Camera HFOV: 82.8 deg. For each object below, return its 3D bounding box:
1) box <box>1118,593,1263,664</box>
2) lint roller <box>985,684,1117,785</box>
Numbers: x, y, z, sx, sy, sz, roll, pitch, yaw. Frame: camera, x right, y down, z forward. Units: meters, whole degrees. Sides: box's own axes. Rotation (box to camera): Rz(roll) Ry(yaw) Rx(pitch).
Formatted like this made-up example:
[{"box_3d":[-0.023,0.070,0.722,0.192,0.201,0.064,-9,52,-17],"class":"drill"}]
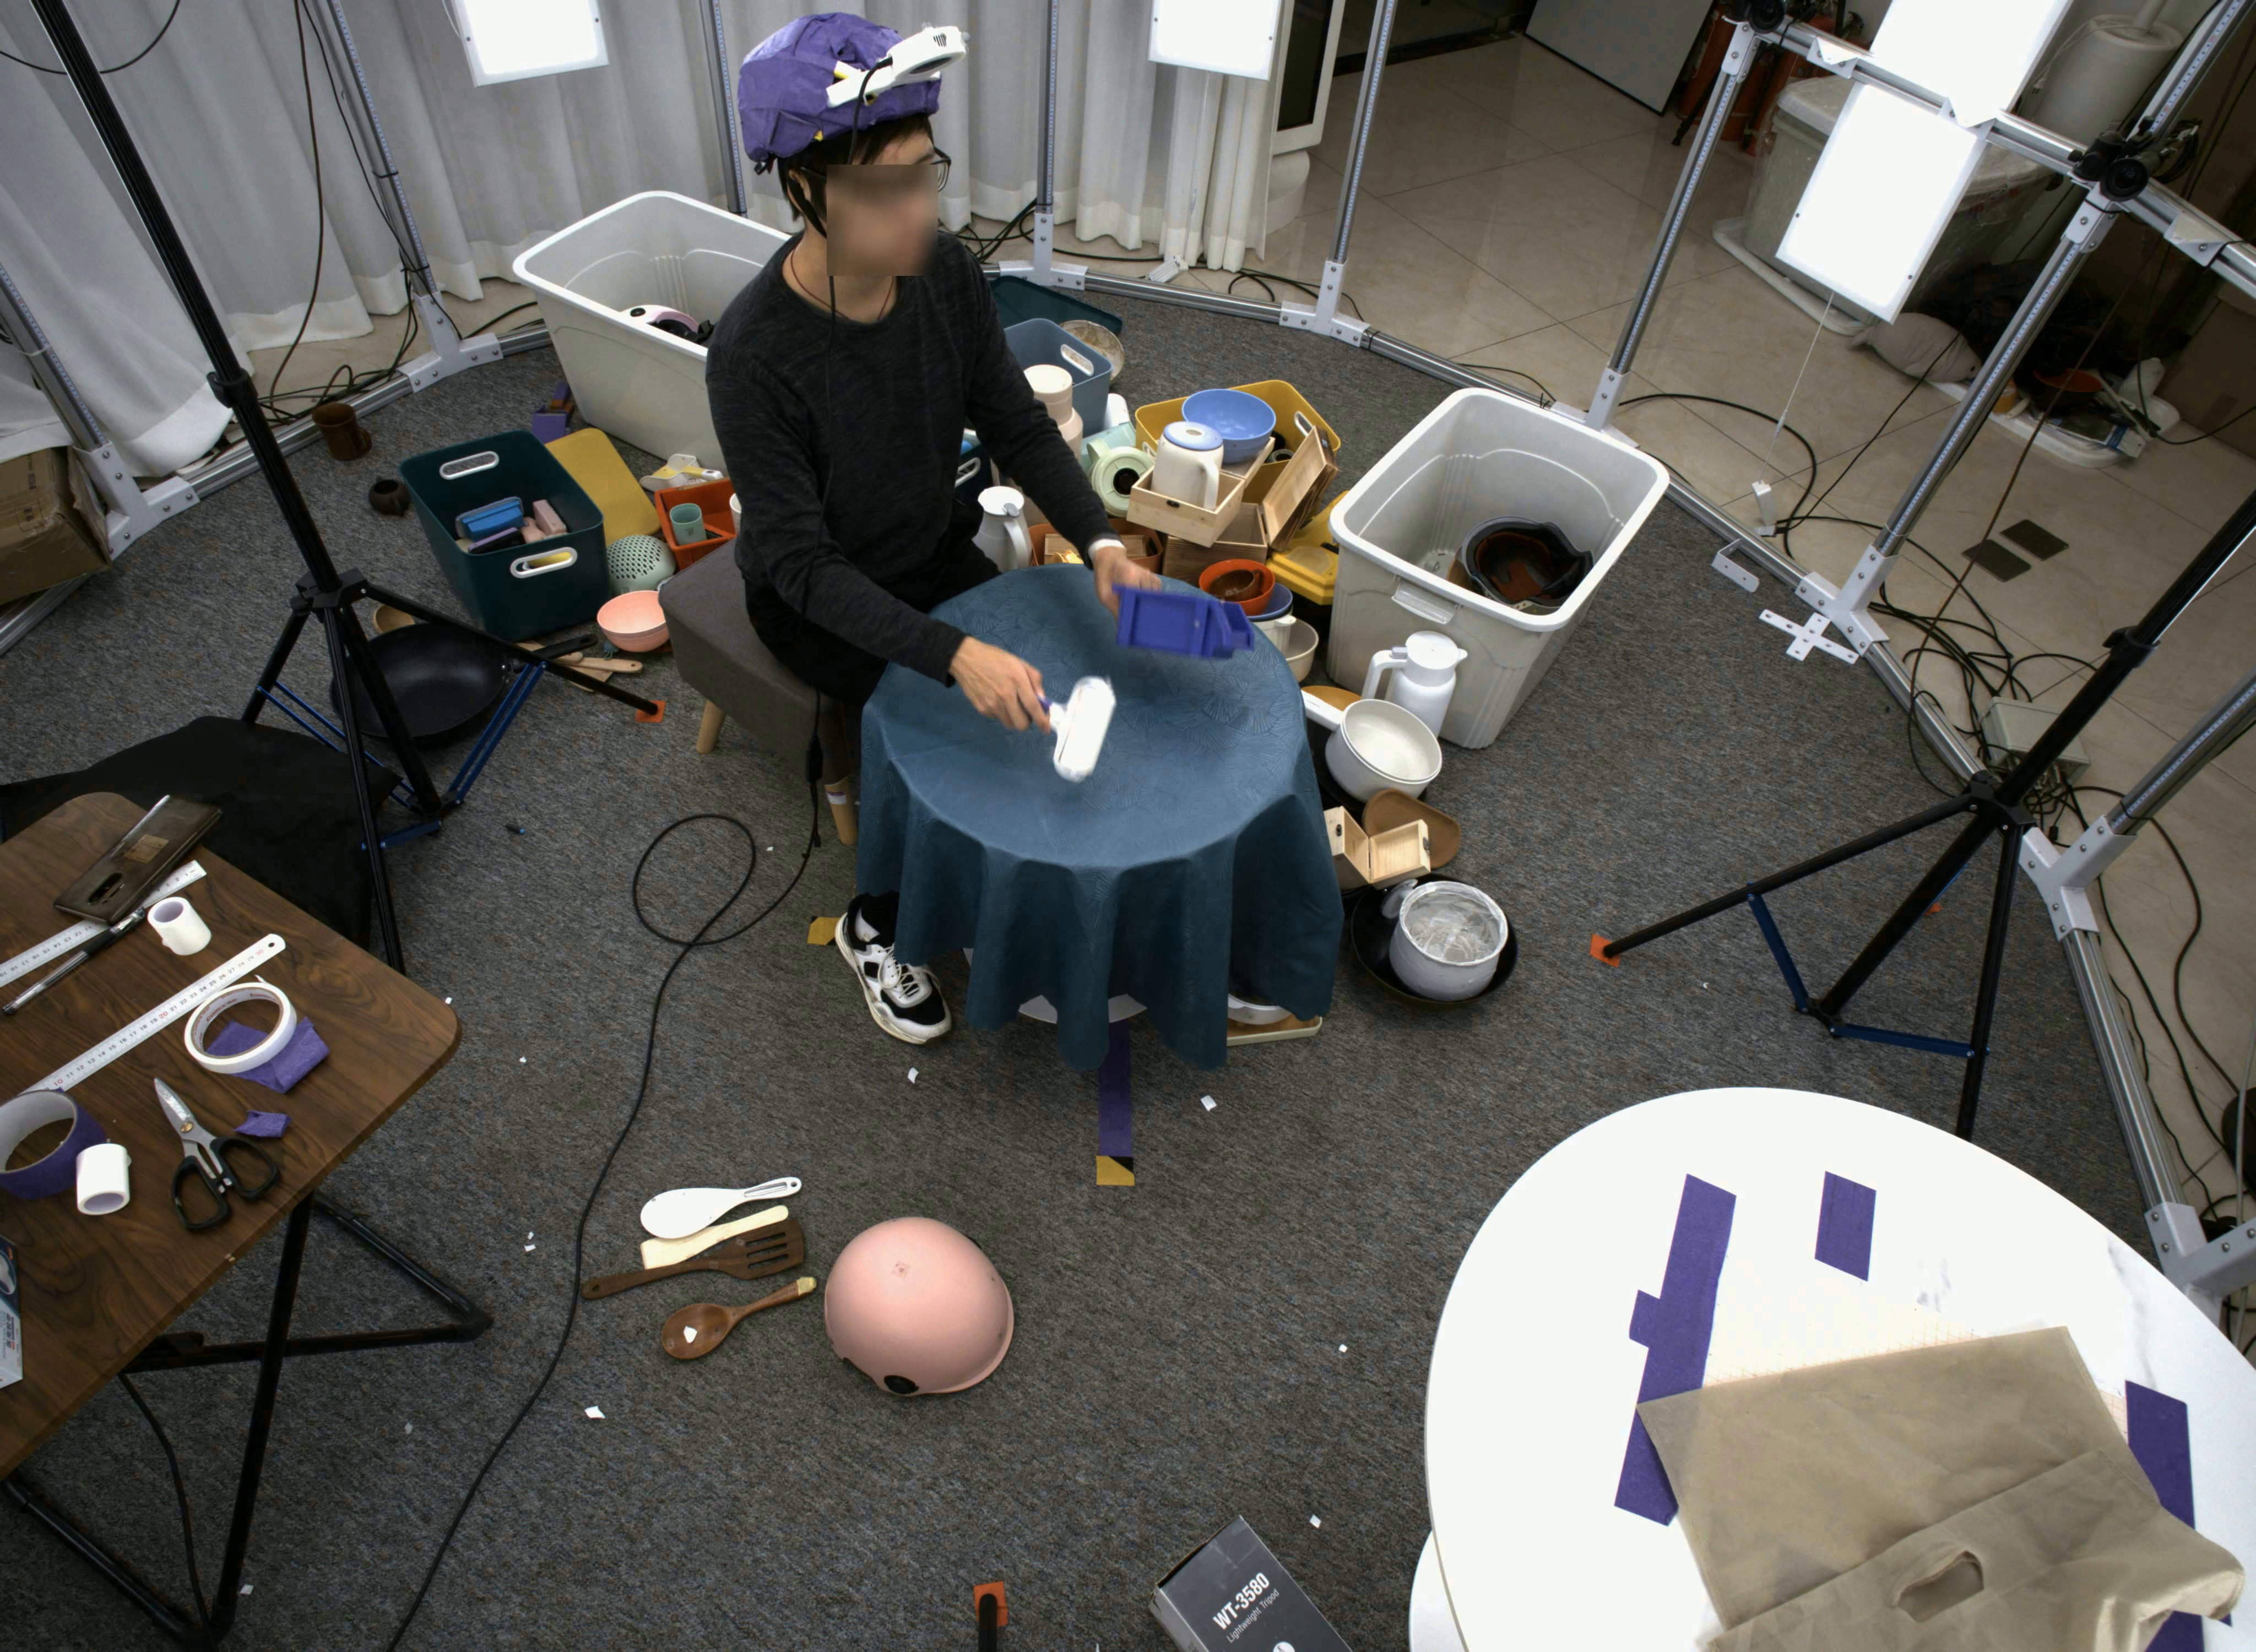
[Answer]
[{"box_3d":[0.088,-0.274,1.786,0.180,0.081,0.125,10,12,22],"class":"box"},{"box_3d":[-0.111,-0.143,1.675,0.181,0.131,0.050,25,16,10],"class":"lint roller"}]
